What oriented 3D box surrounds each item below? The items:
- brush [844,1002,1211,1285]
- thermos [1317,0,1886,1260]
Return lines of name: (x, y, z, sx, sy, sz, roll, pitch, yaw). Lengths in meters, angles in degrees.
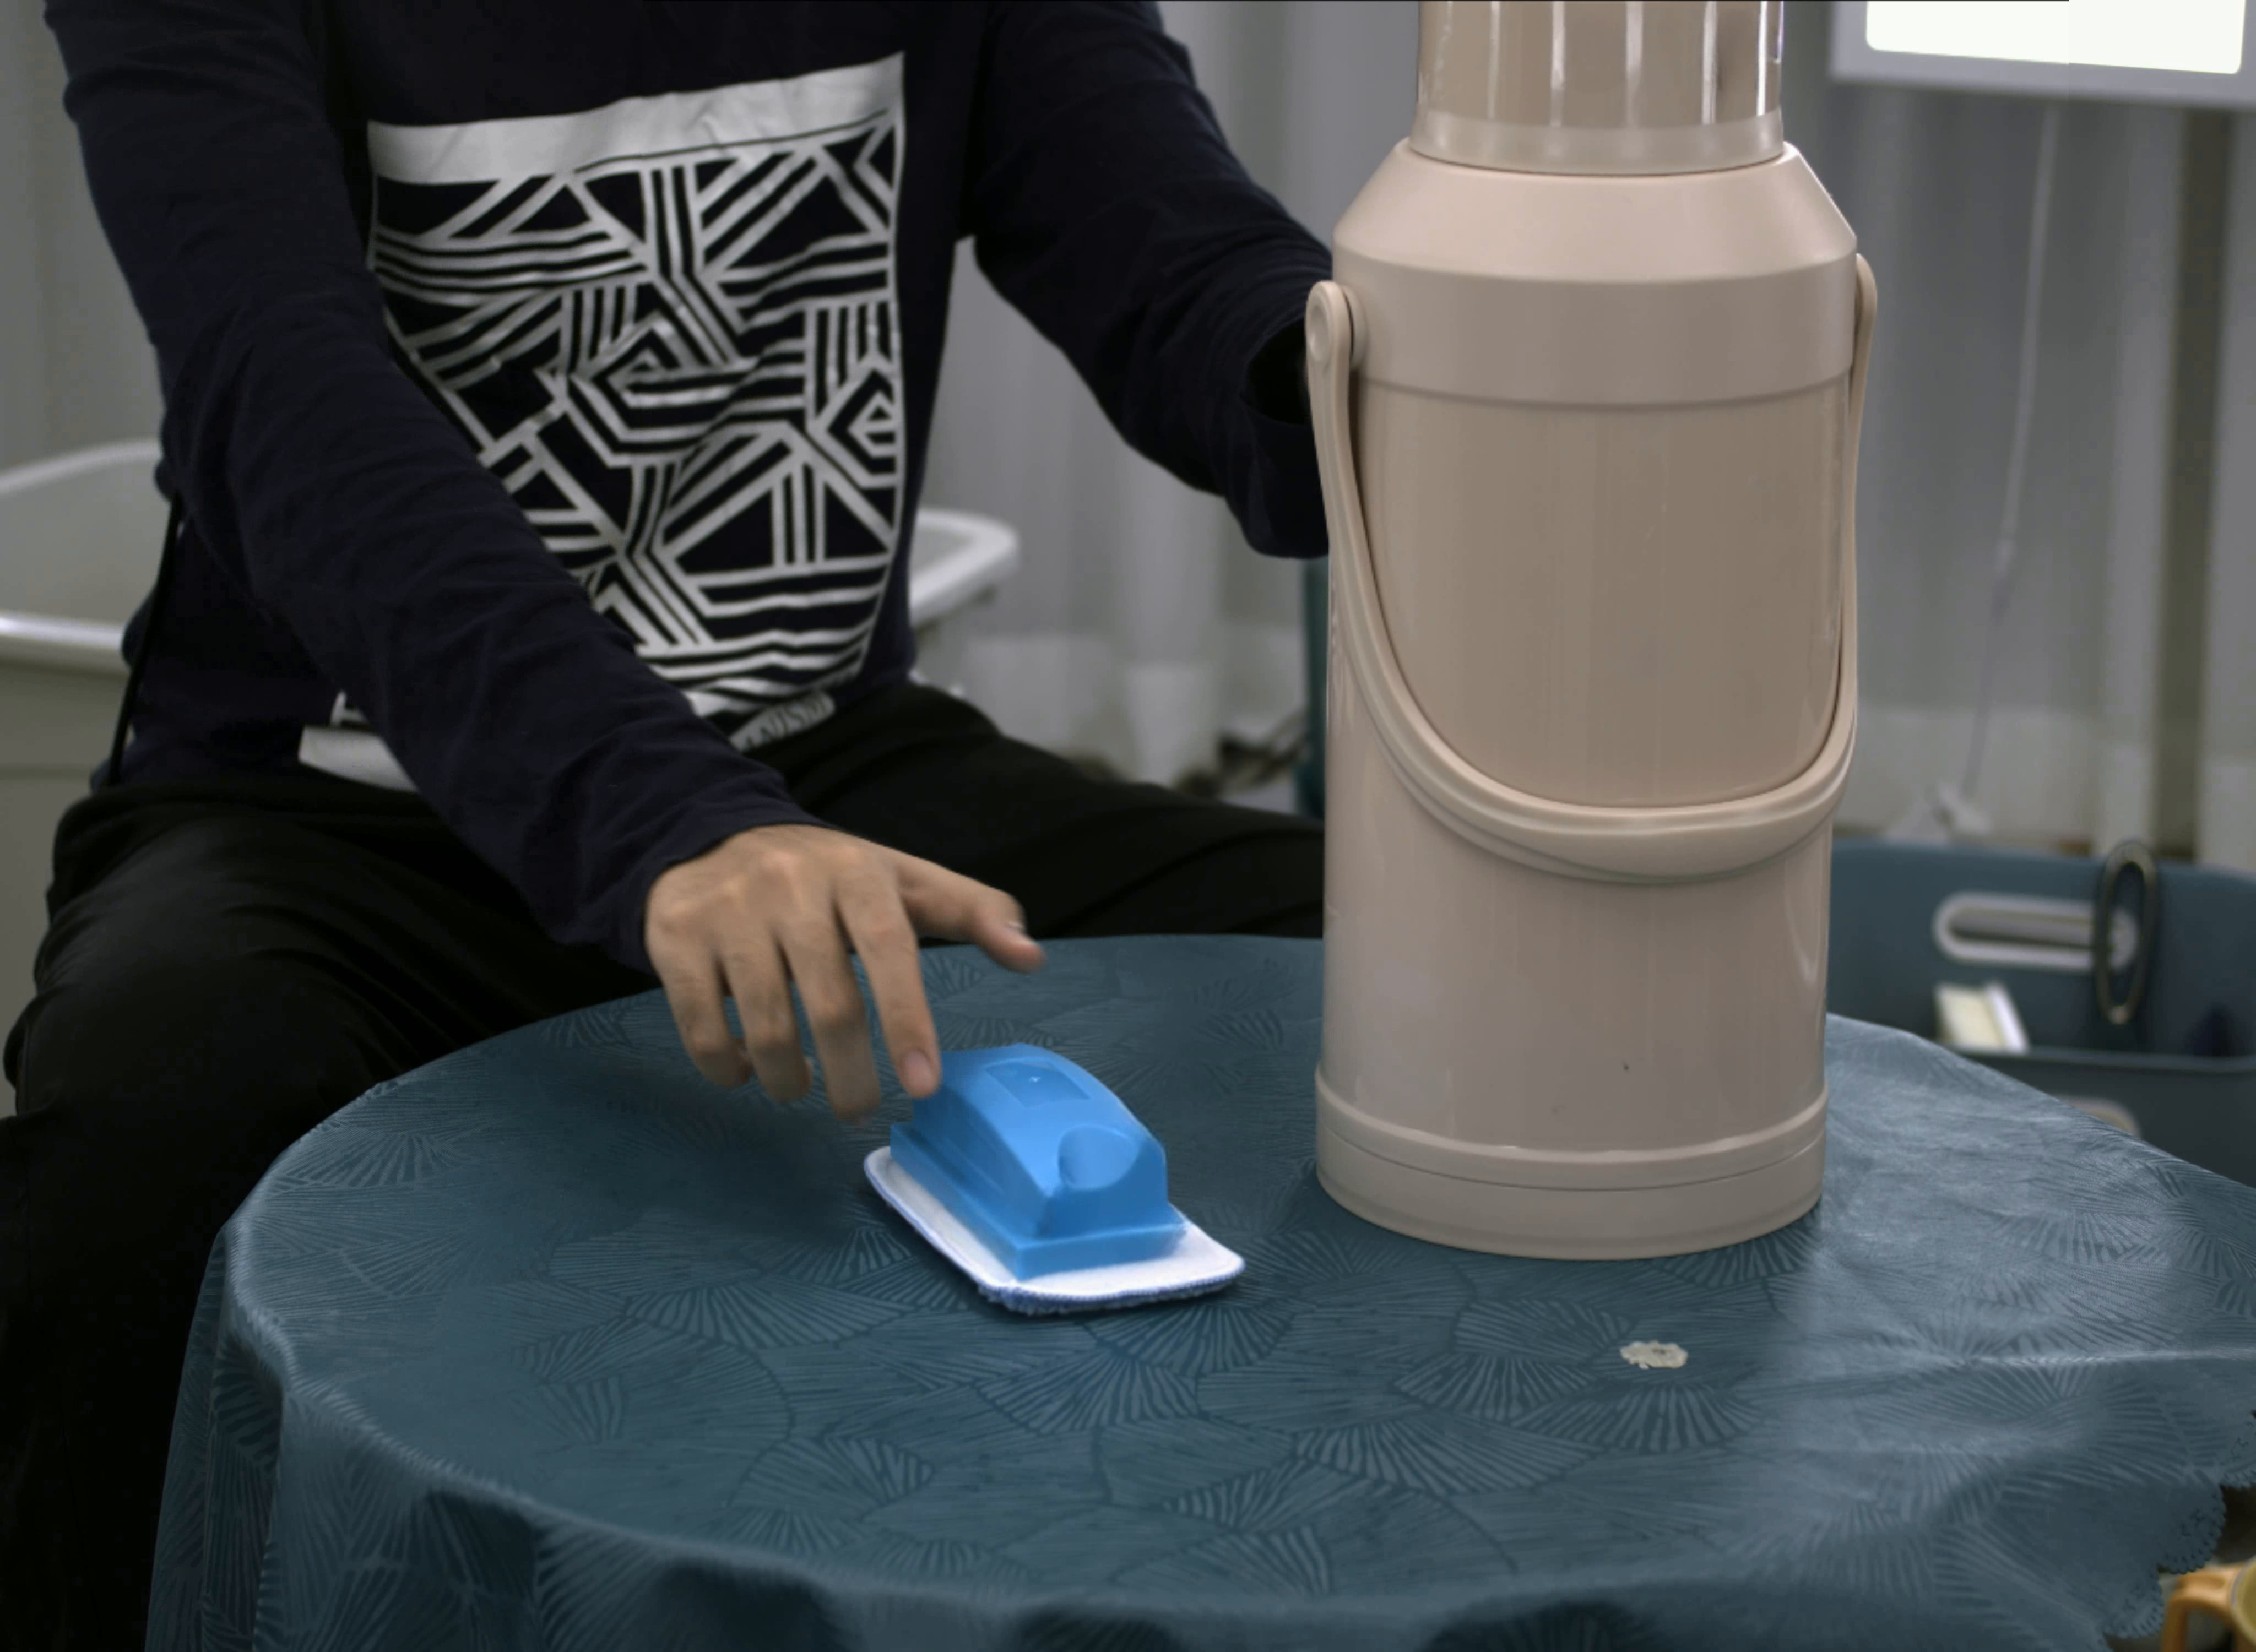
brush: (-0.029, 0.092, 1.578, 0.084, 0.056, 0.142, -1, 19, -20)
thermos: (0.139, -0.086, 1.600, 0.176, 0.410, 0.205, -7, 17, -18)
